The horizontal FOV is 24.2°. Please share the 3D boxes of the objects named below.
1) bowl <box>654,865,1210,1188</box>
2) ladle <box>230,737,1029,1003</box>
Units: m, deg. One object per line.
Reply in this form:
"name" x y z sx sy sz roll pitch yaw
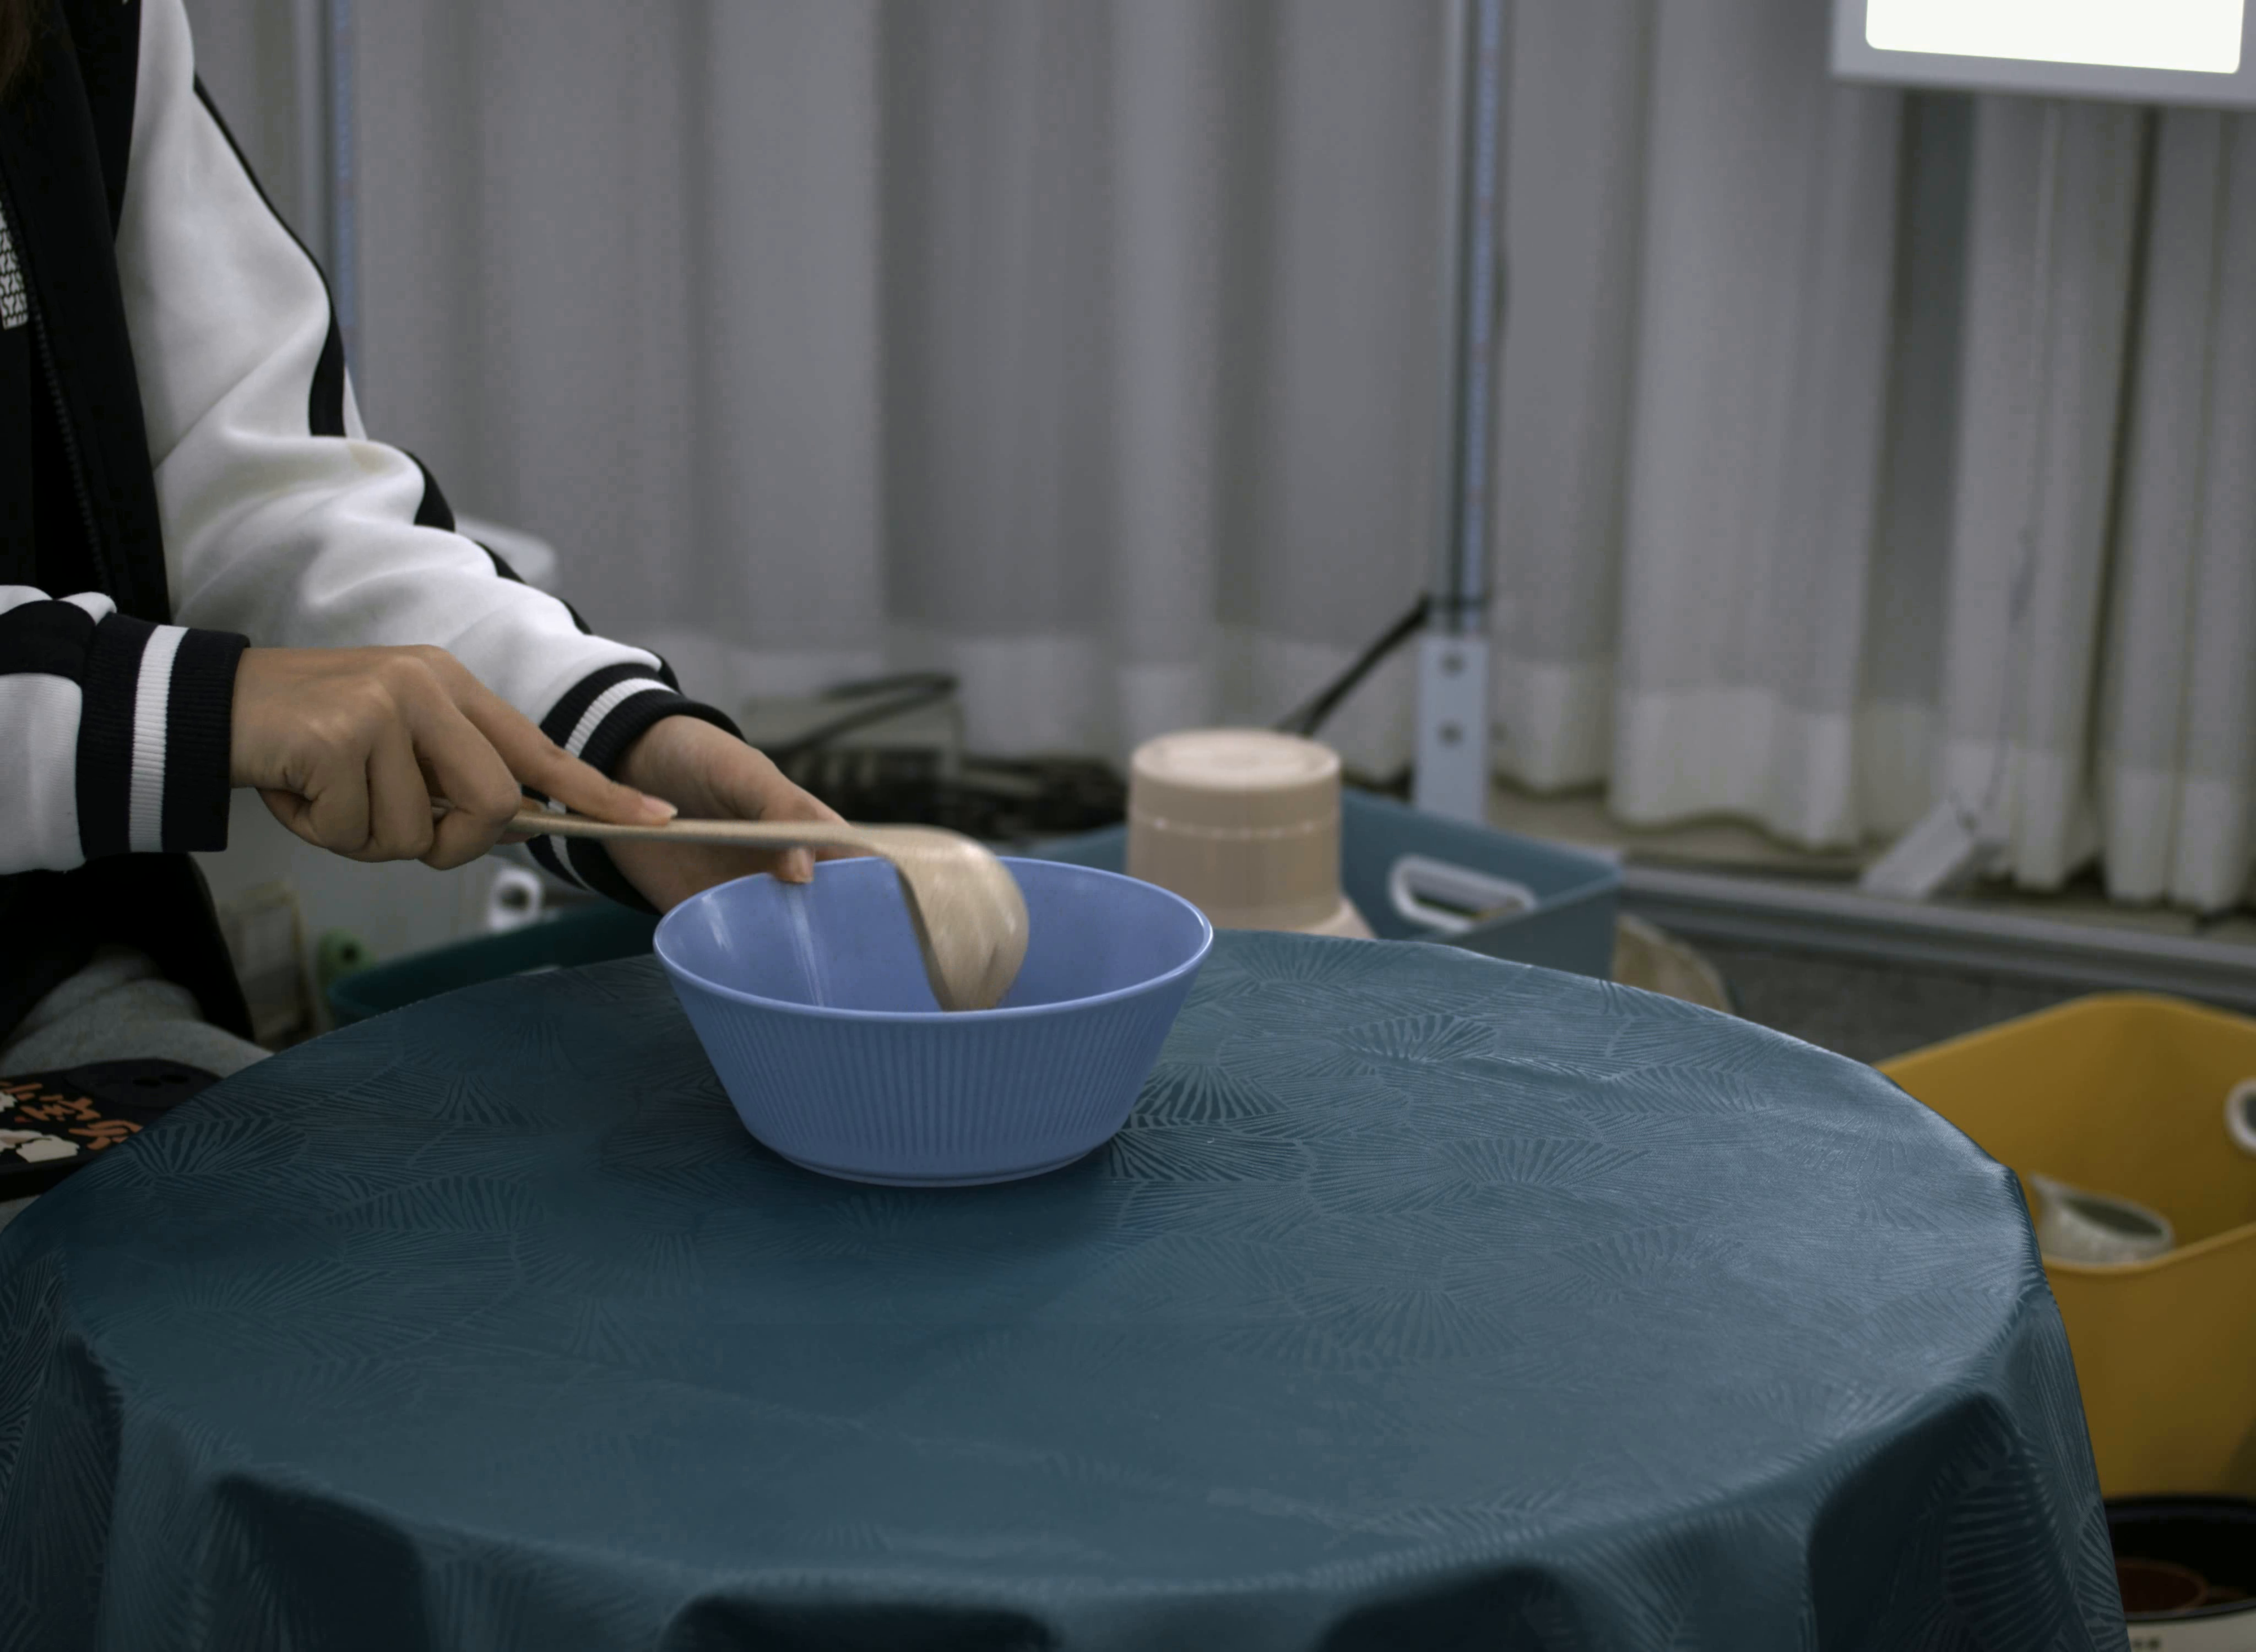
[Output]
"bowl" -0.062 0.065 1.661 0.175 0.071 0.175 1 15 0
"ladle" -0.158 0.027 1.640 0.255 0.073 0.071 9 13 -12
